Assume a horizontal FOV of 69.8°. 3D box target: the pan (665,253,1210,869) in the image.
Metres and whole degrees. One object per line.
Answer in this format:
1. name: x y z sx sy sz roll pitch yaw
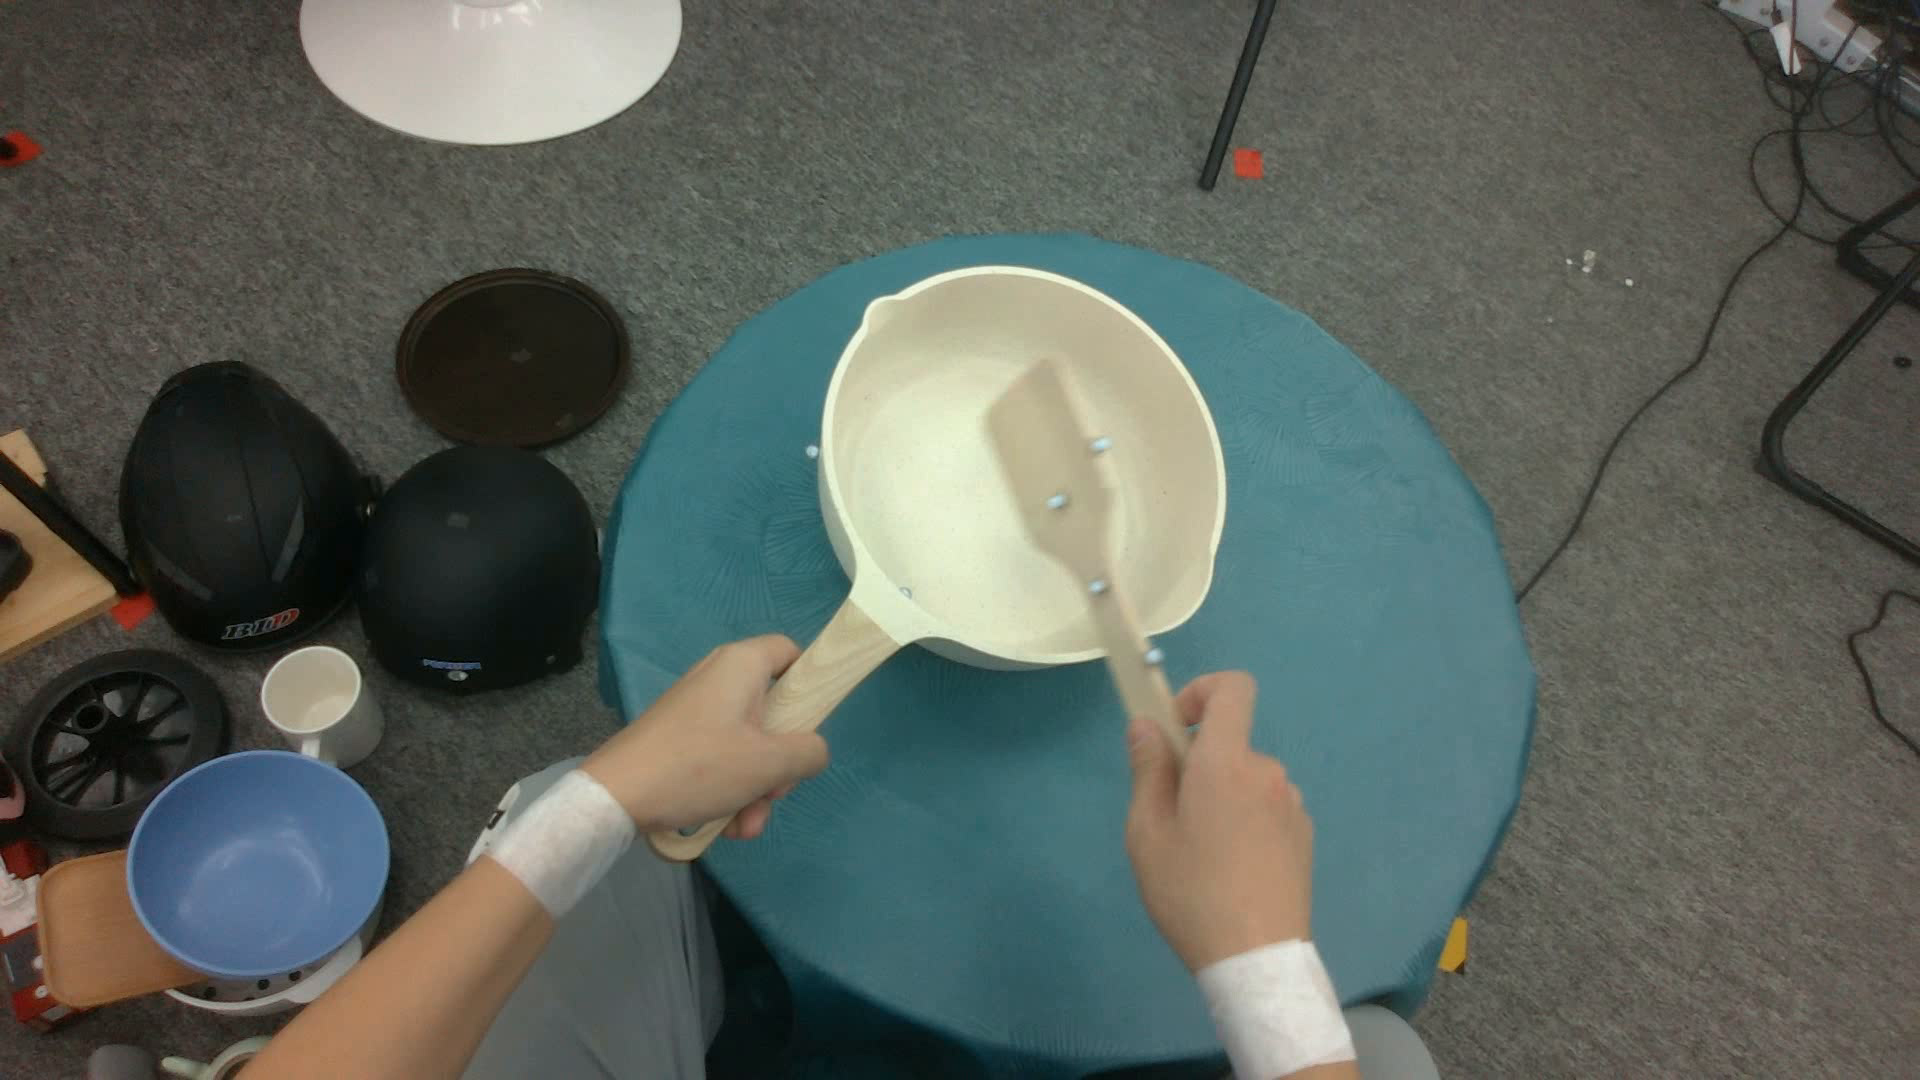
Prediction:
1. pan: -0.028 0.016 0.801 0.263 0.101 0.437 41 64 -2

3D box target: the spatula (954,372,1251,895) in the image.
1. spatula: 0.076 0.047 0.720 0.011 0.072 0.293 -11 66 -40
